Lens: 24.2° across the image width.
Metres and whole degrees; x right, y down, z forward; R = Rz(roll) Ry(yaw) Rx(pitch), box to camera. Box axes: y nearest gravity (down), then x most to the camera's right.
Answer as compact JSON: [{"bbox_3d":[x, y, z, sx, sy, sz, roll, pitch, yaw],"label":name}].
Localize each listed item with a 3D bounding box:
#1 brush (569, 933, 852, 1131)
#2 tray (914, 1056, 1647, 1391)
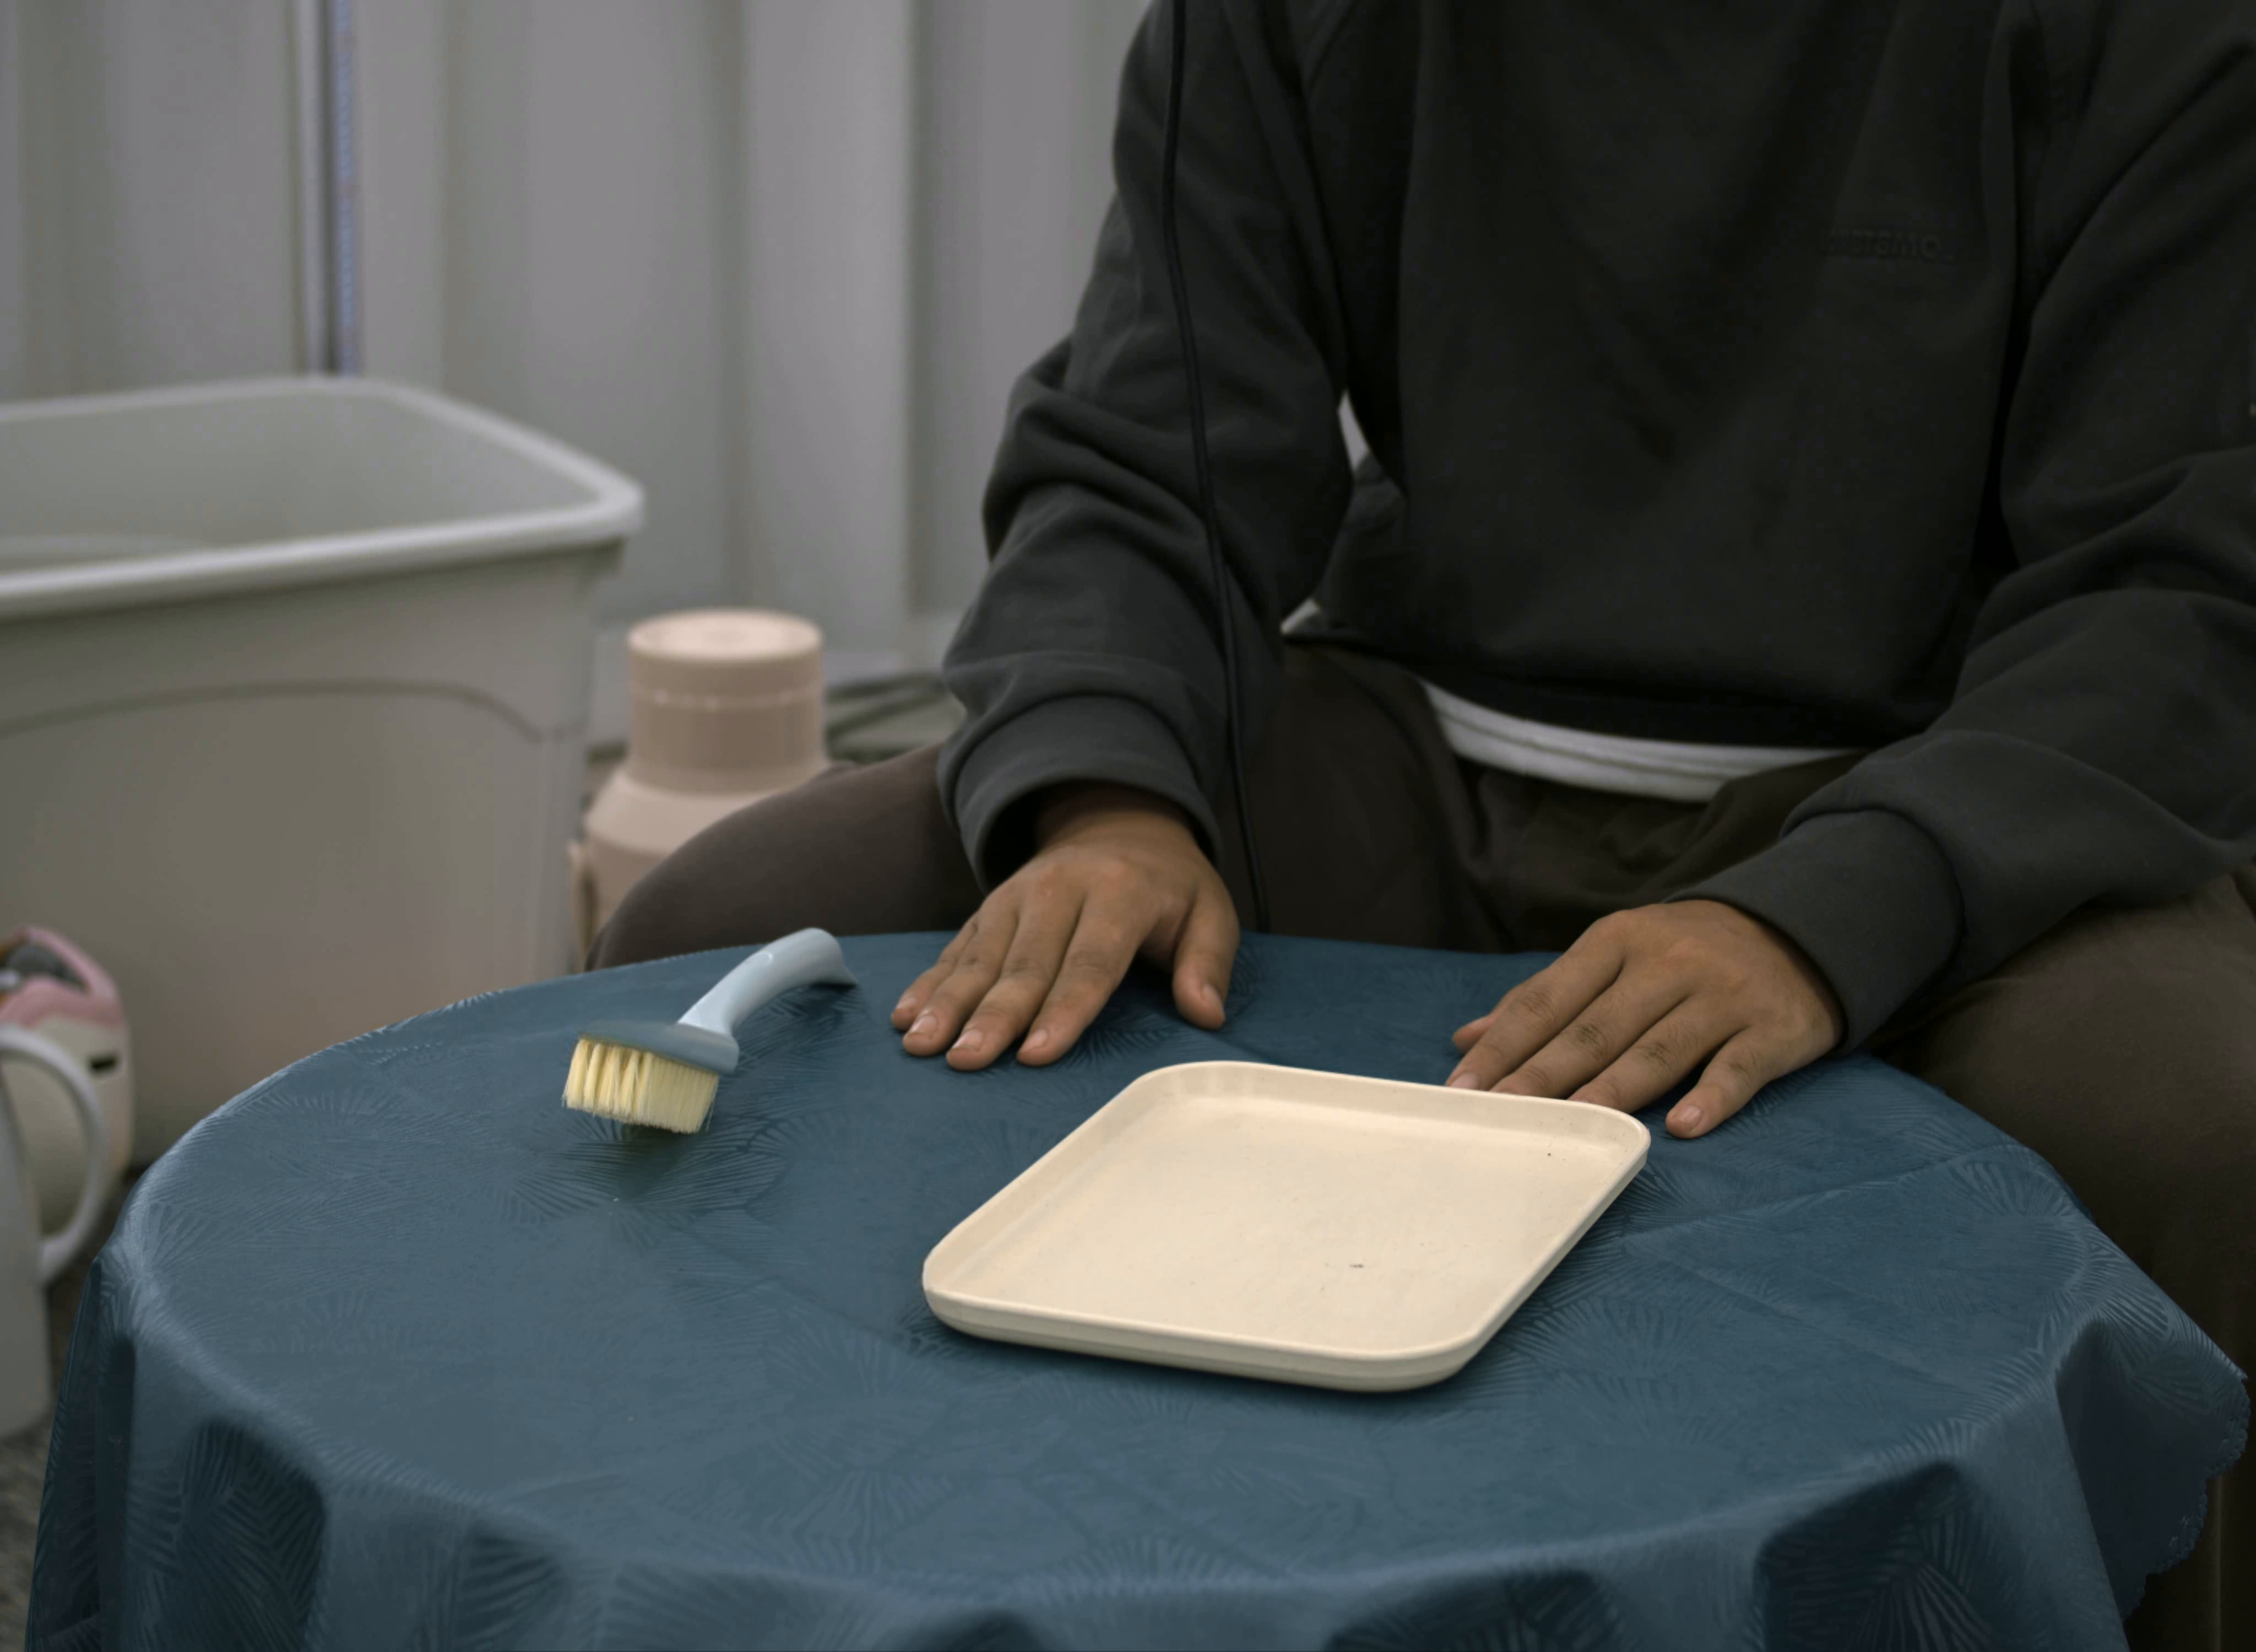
[{"bbox_3d":[-0.134,0.068,1.723,0.037,0.050,0.229,11,9,12],"label":"brush"},{"bbox_3d":[0.050,0.117,1.577,0.169,0.017,0.240,7,16,19],"label":"tray"}]
